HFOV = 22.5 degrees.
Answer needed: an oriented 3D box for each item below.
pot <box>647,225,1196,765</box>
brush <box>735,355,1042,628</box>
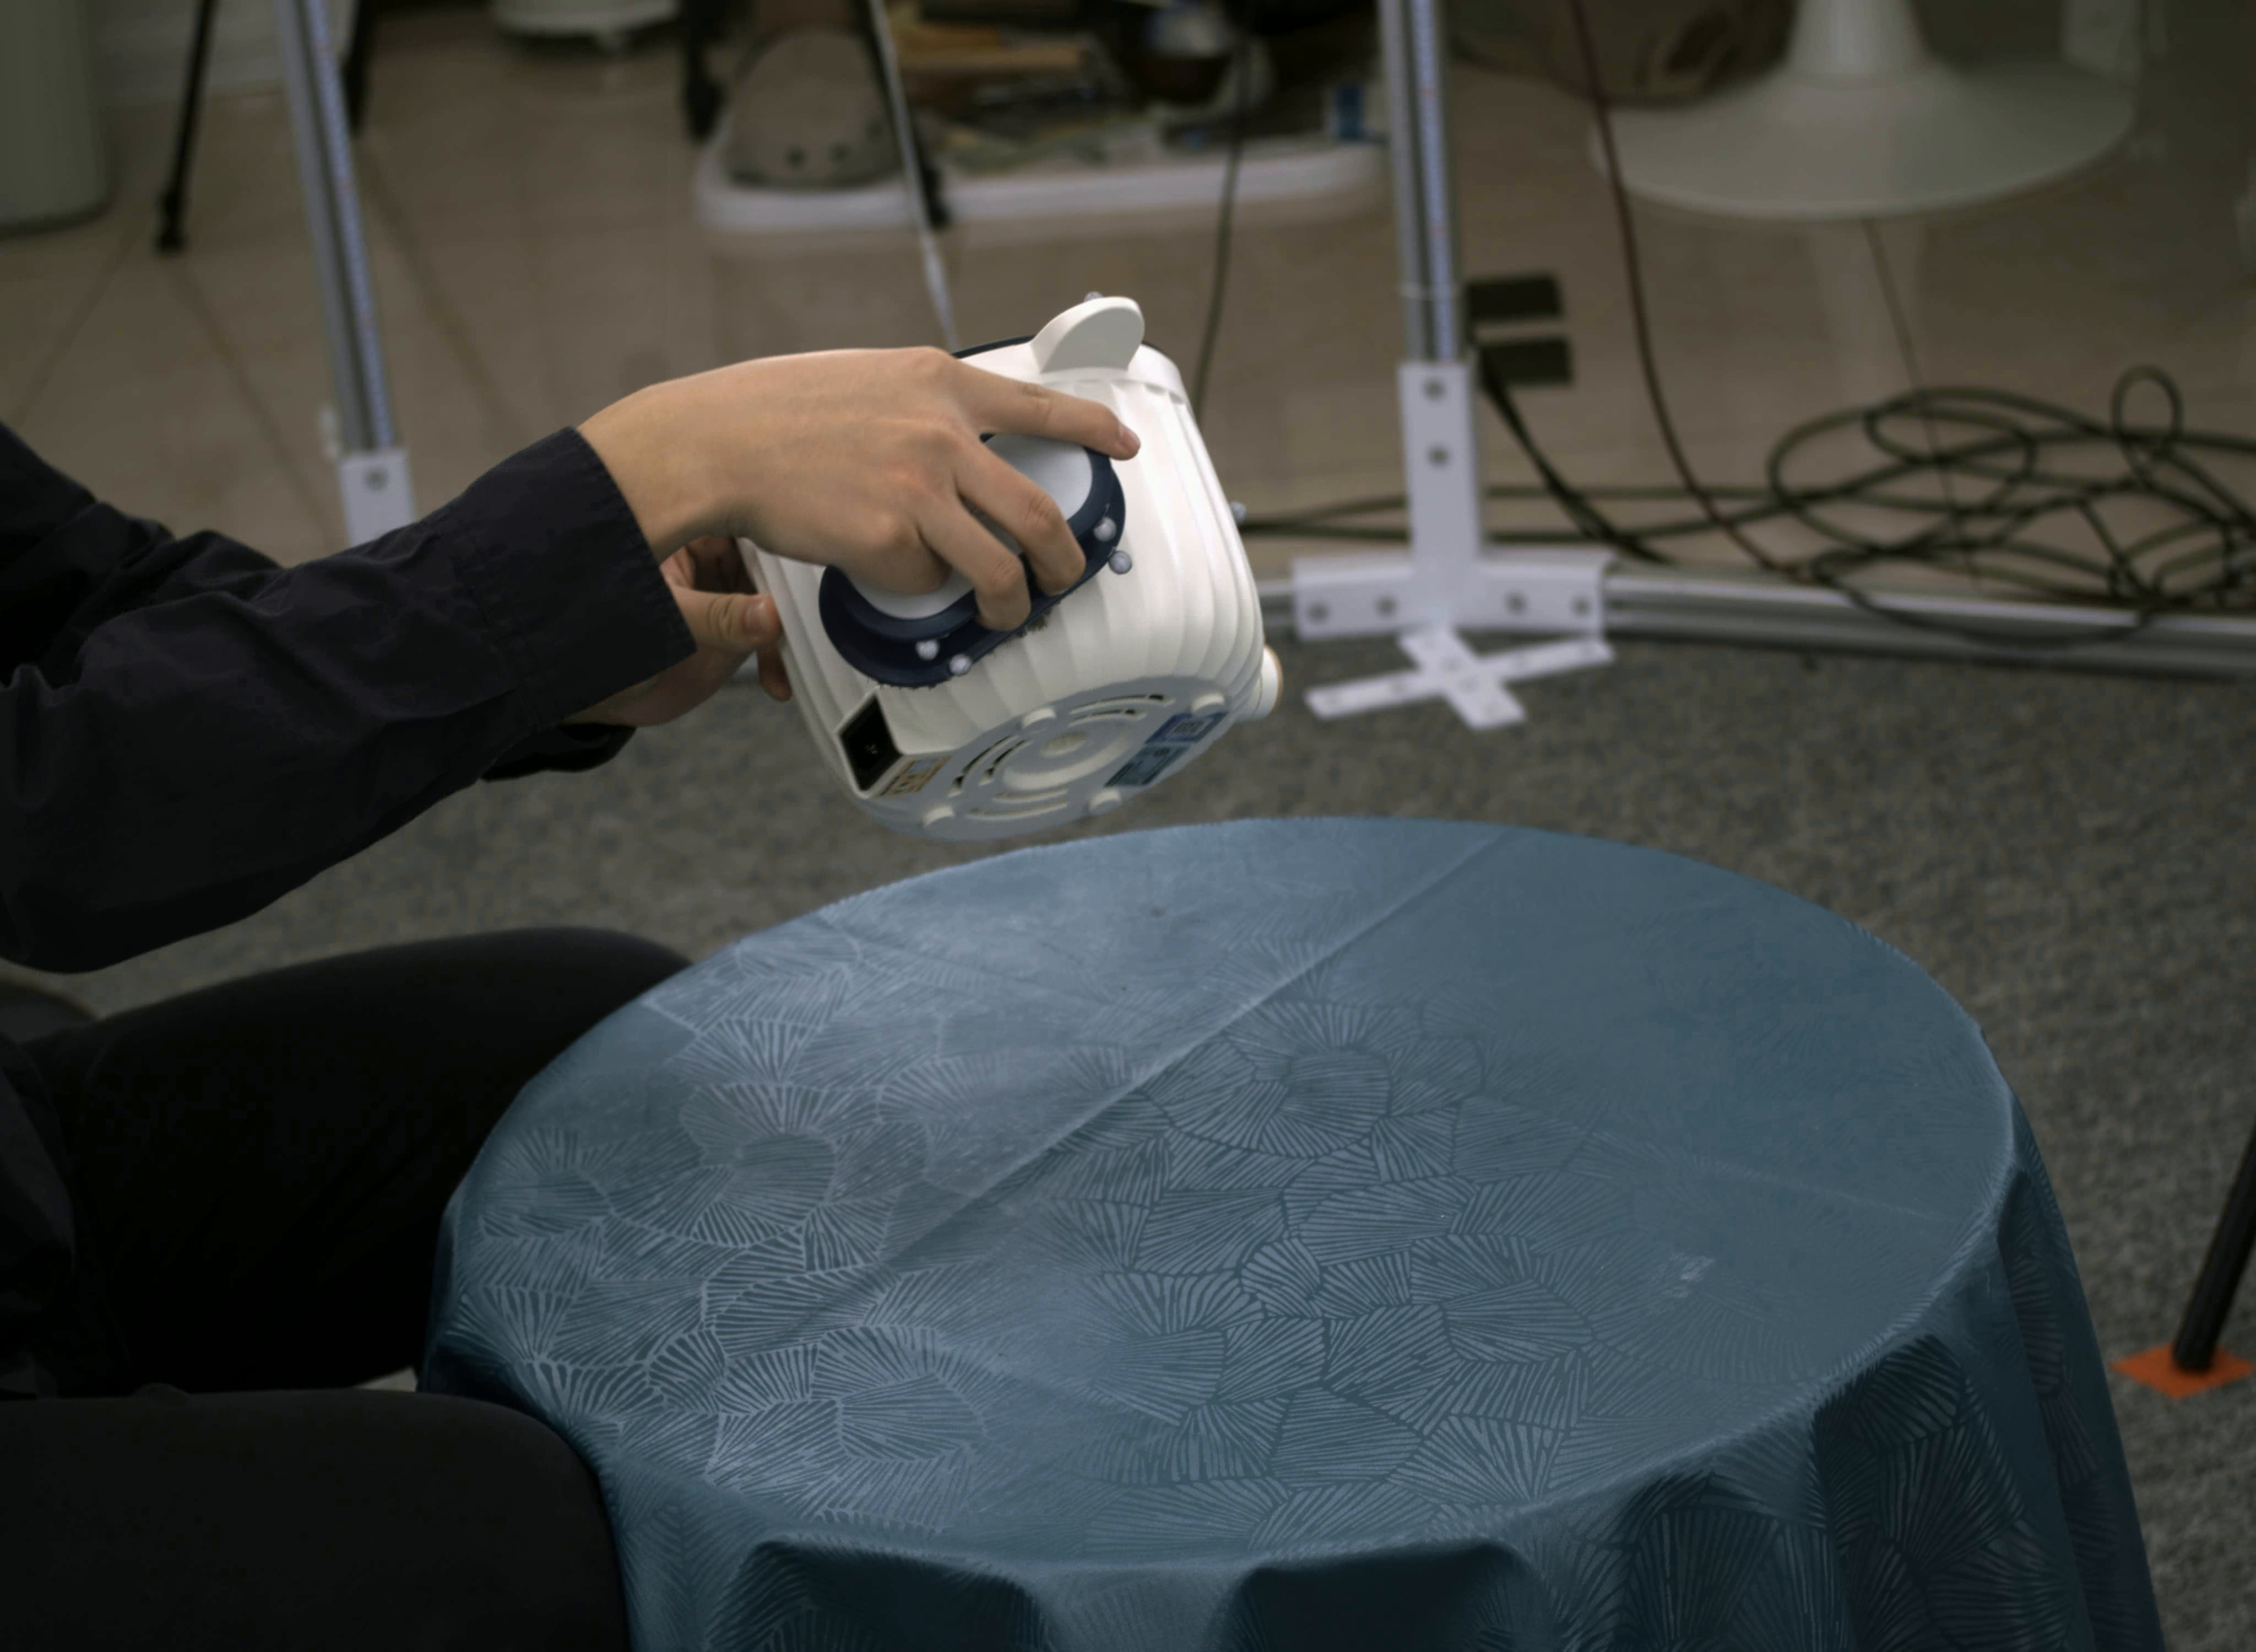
[{"bbox_3d":[-0.071,-0.112,2.169,0.190,0.141,0.243,-9,-21,-38],"label":"pot"},{"bbox_3d":[-0.086,-0.119,2.032,0.121,0.062,0.067,-32,78,-13],"label":"brush"}]
